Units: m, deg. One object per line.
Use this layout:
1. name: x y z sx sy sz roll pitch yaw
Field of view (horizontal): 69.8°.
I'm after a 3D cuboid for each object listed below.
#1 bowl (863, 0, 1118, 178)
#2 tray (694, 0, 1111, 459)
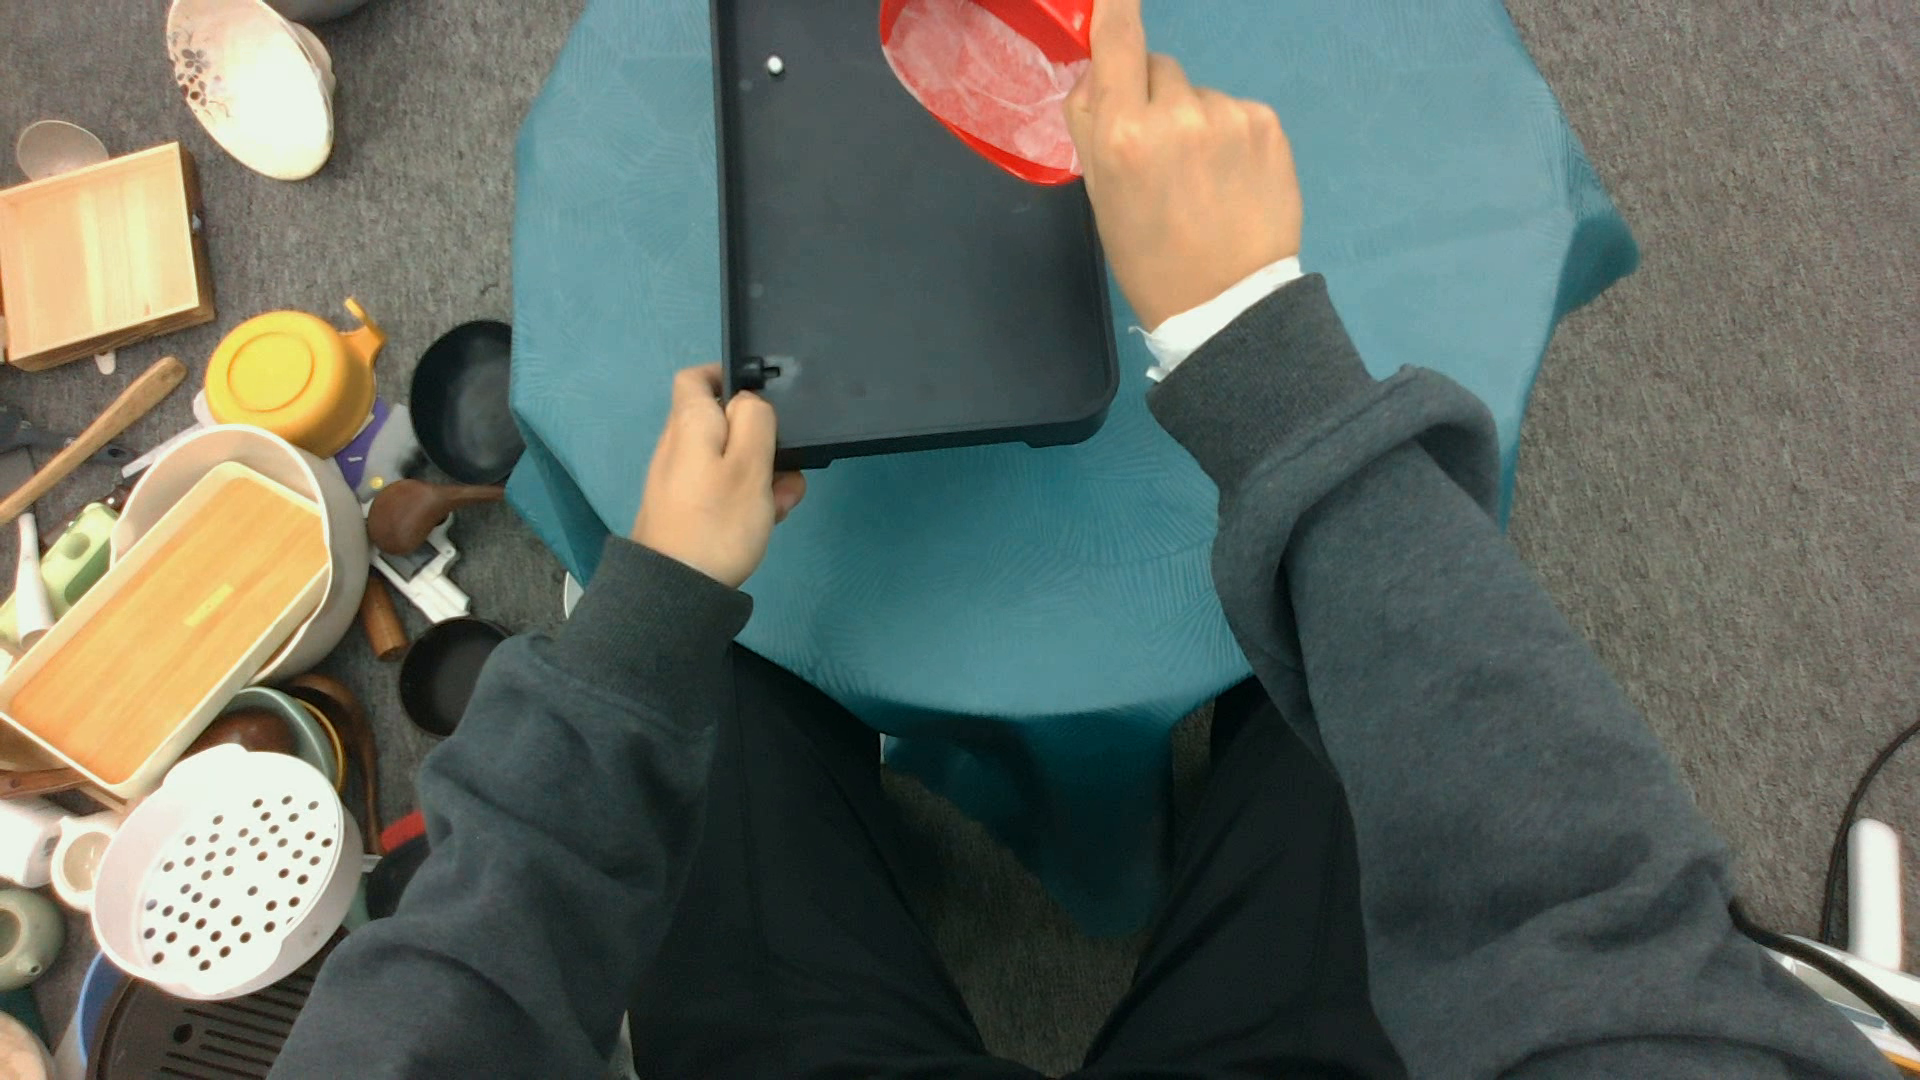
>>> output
1. bowl: 0.020 -0.211 0.571 0.119 0.118 0.051 31 70 12
2. tray: -0.036 -0.196 0.687 0.184 0.037 0.319 -6 70 -1
